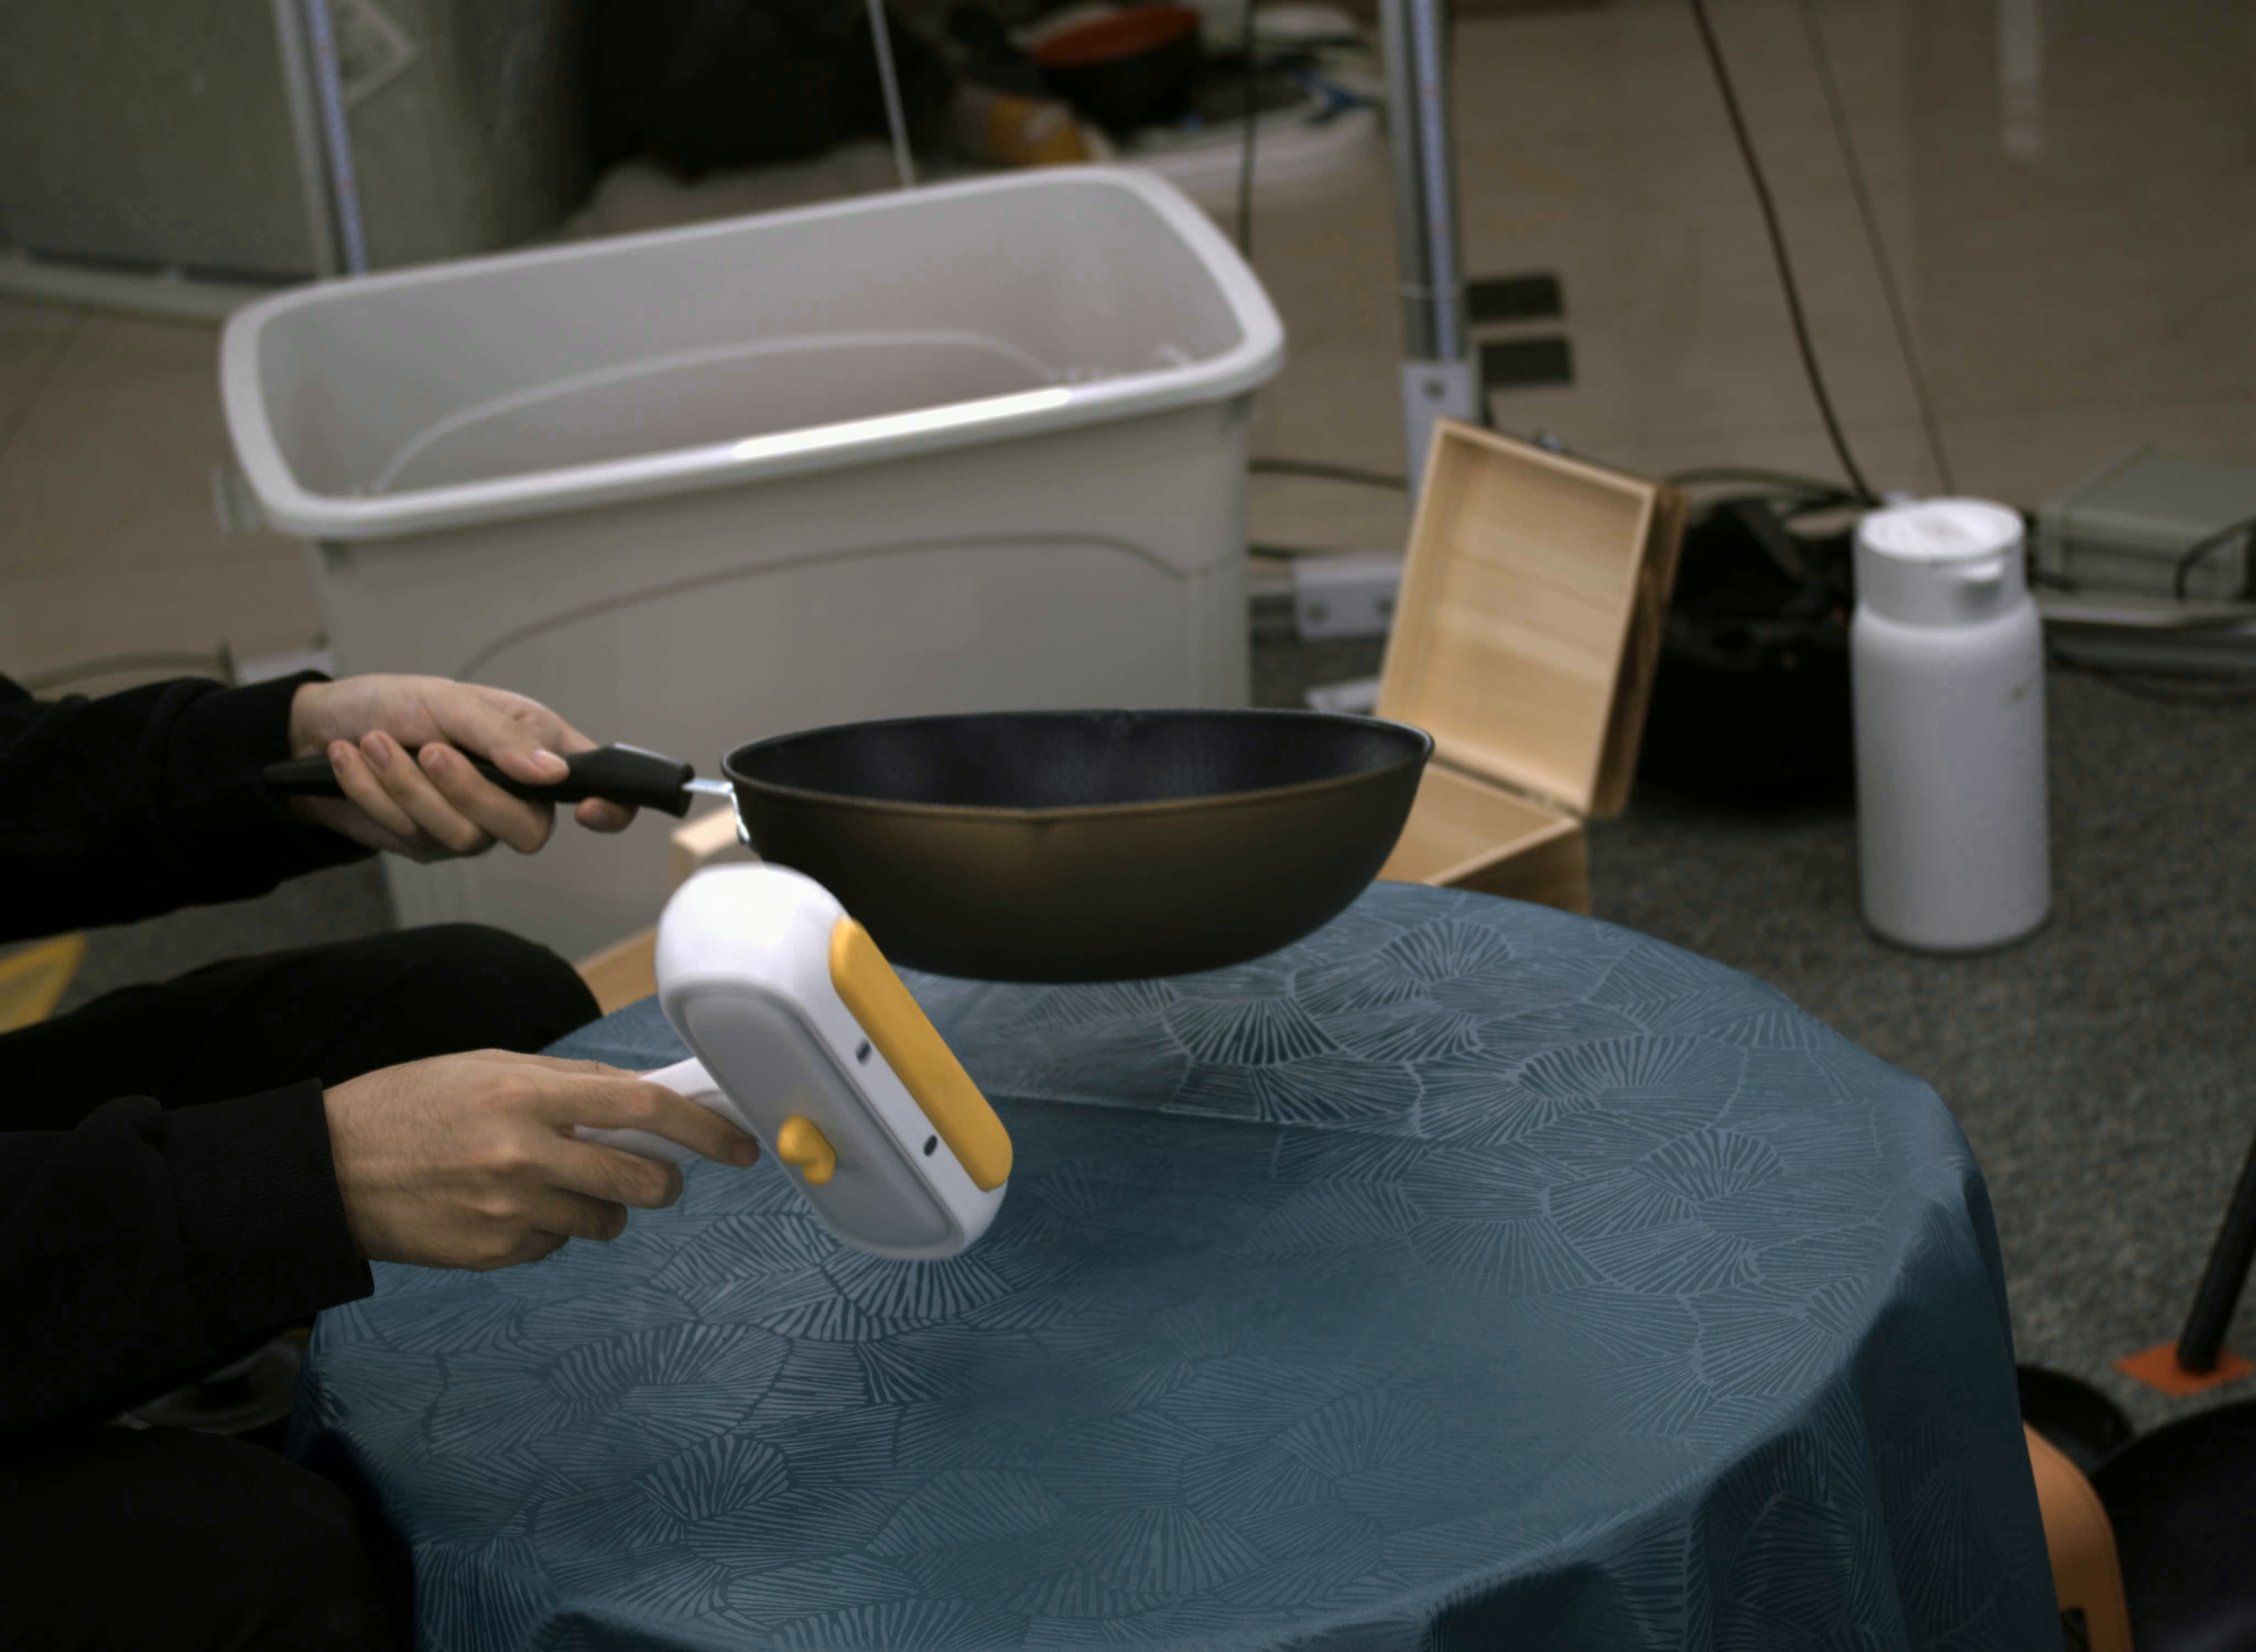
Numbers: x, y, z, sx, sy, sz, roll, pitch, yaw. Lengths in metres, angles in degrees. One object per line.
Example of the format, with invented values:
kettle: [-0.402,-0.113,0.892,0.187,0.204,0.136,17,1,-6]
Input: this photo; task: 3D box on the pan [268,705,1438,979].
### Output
pan: [-0.109,0.008,2.205,0.462,0.087,0.286,-1,8,8]

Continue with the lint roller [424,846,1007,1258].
lint roller: [-0.159,0.099,1.980,0.193,0.196,0.073,-15,49,23]
